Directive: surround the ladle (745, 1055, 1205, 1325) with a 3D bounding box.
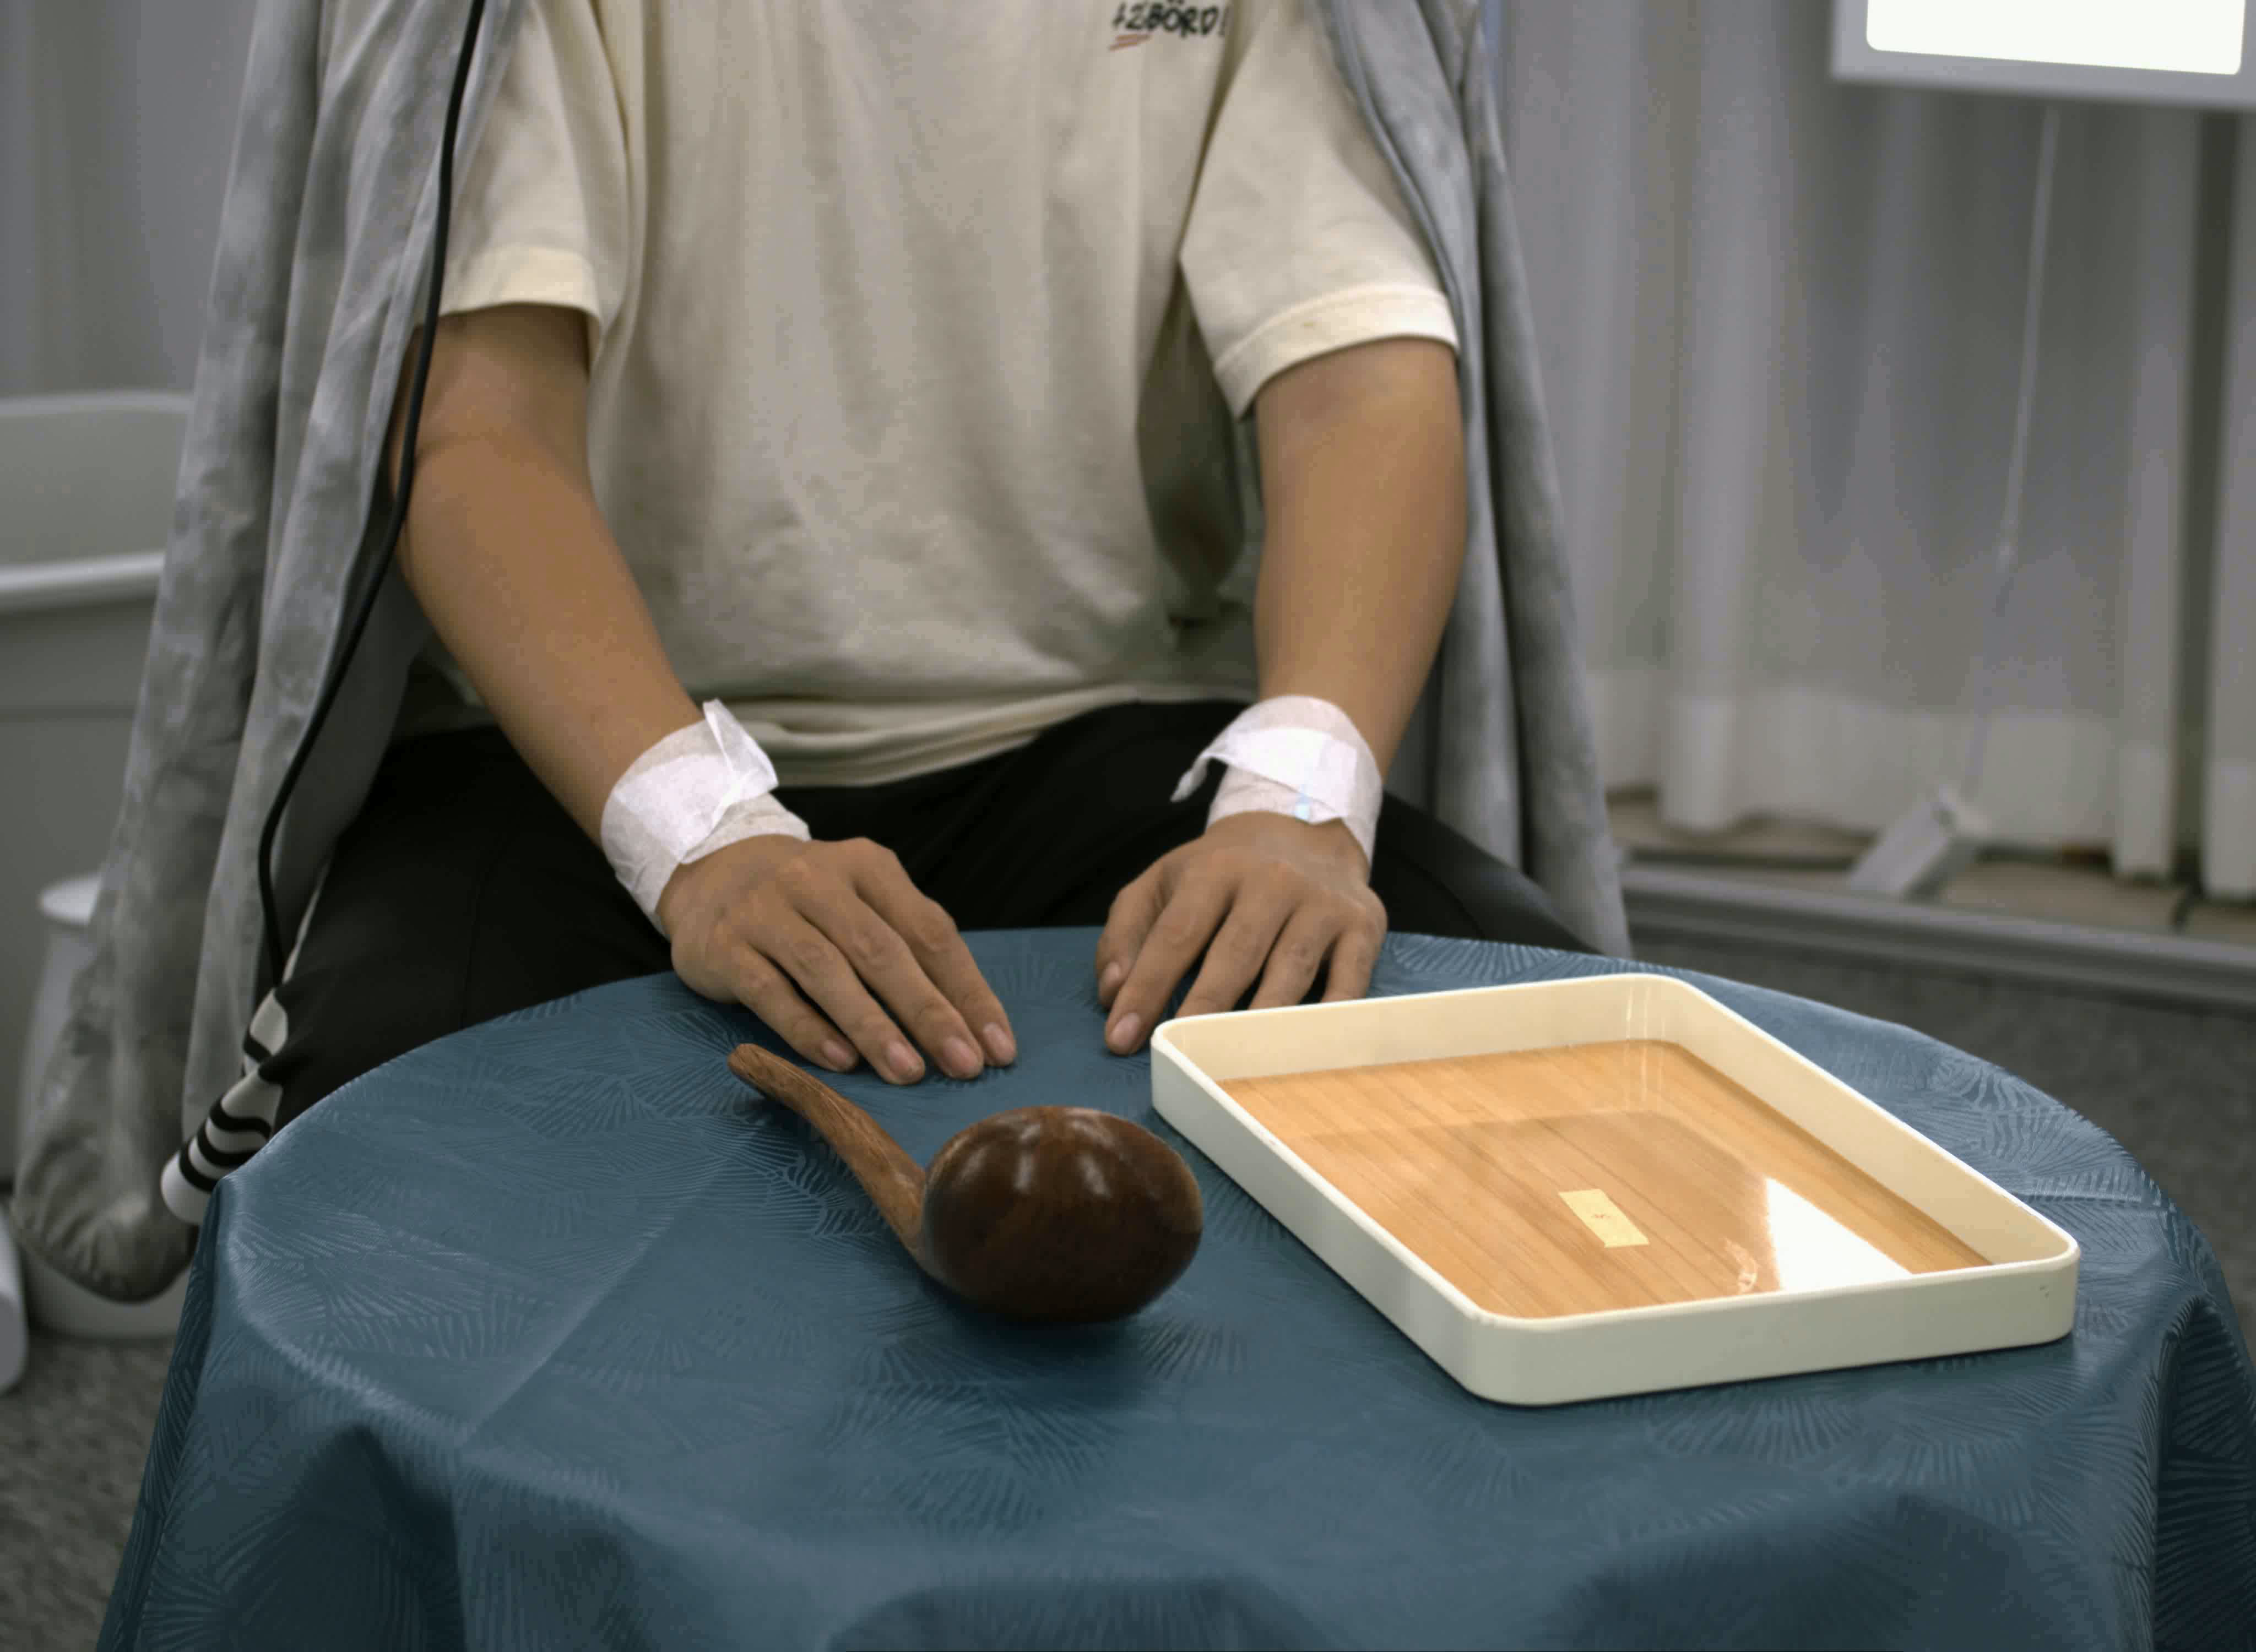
[{"bbox_3d":[-0.055,0.086,1.586,0.083,0.076,0.271,36,0,-24],"label":"ladle"}]

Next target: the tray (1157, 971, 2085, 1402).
[{"bbox_3d":[0.142,0.105,1.607,0.192,0.027,0.297,-5,16,-18],"label":"tray"}]
